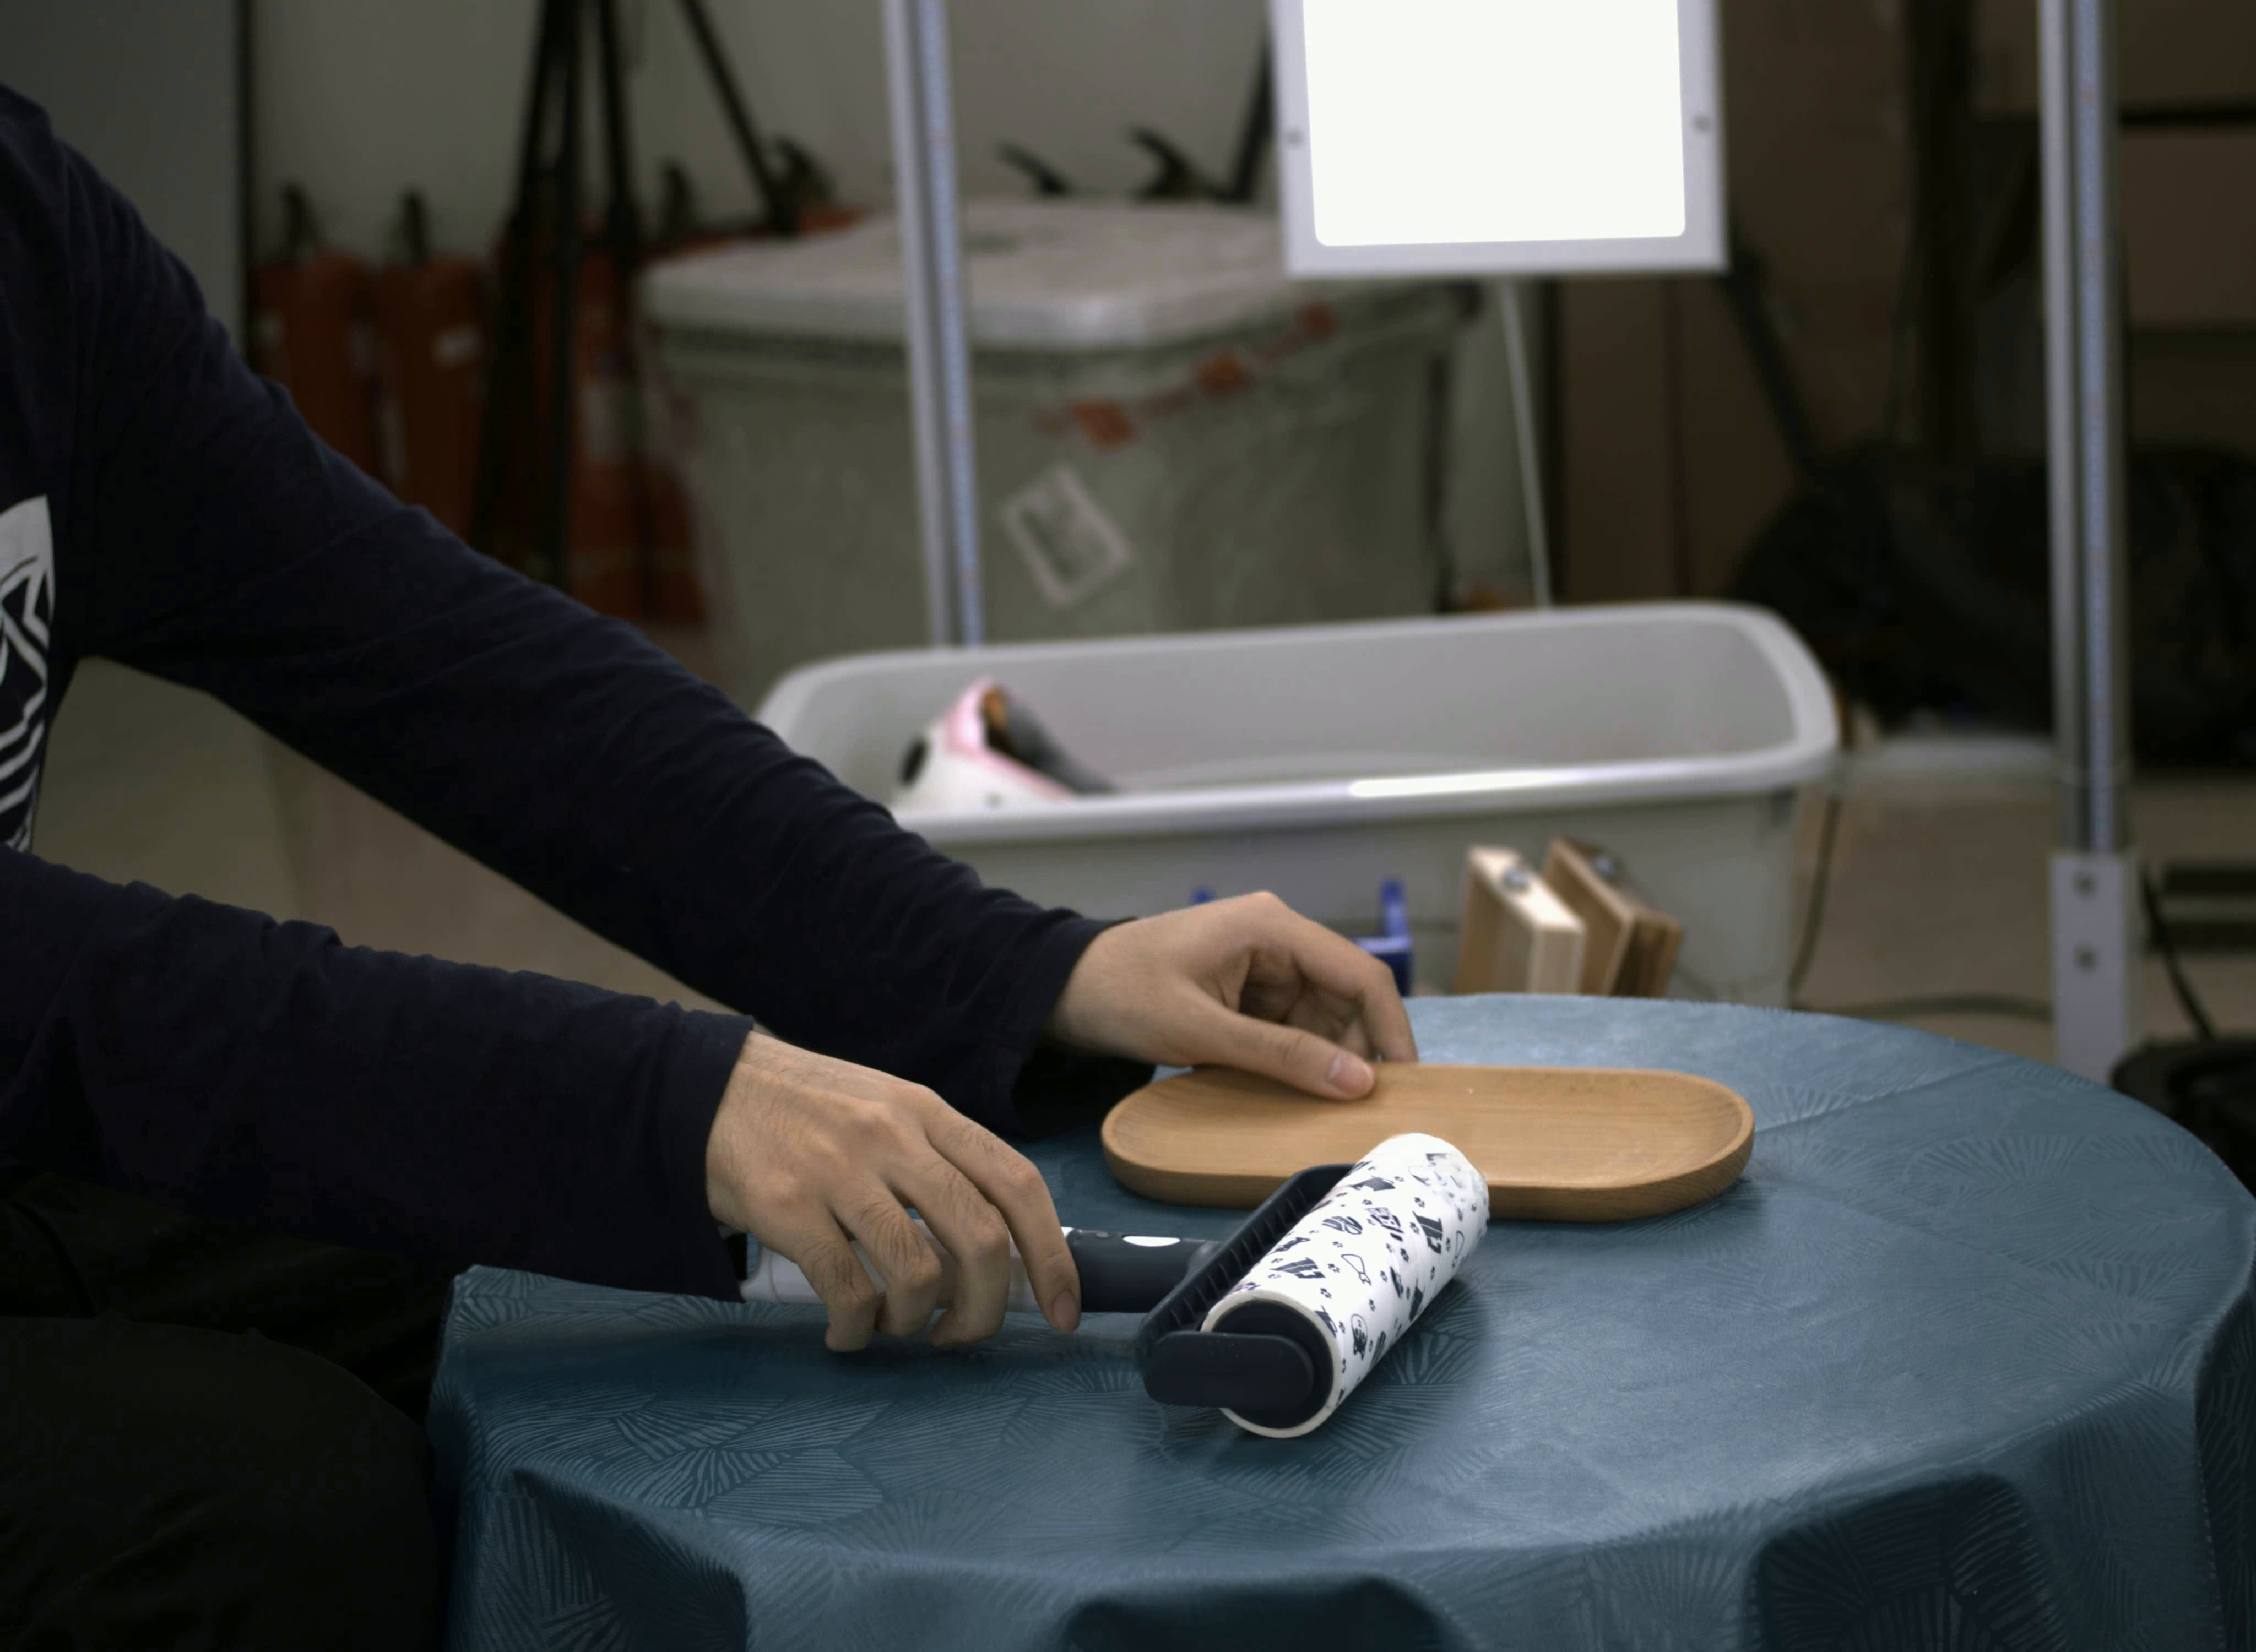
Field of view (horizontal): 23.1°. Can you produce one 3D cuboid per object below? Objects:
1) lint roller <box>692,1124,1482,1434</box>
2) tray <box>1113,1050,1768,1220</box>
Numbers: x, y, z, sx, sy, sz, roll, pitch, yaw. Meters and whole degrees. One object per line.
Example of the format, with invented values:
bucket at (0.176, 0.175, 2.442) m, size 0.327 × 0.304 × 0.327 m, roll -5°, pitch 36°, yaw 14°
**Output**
lint roller at (-0.026, 0.141, 1.753) m, size 0.250 × 0.050 × 0.173 m, roll -1°, pitch 15°, yaw 22°
tray at (0.107, 0.106, 1.890) m, size 0.234 × 0.020 × 0.100 m, roll 1°, pitch 26°, yaw 21°
